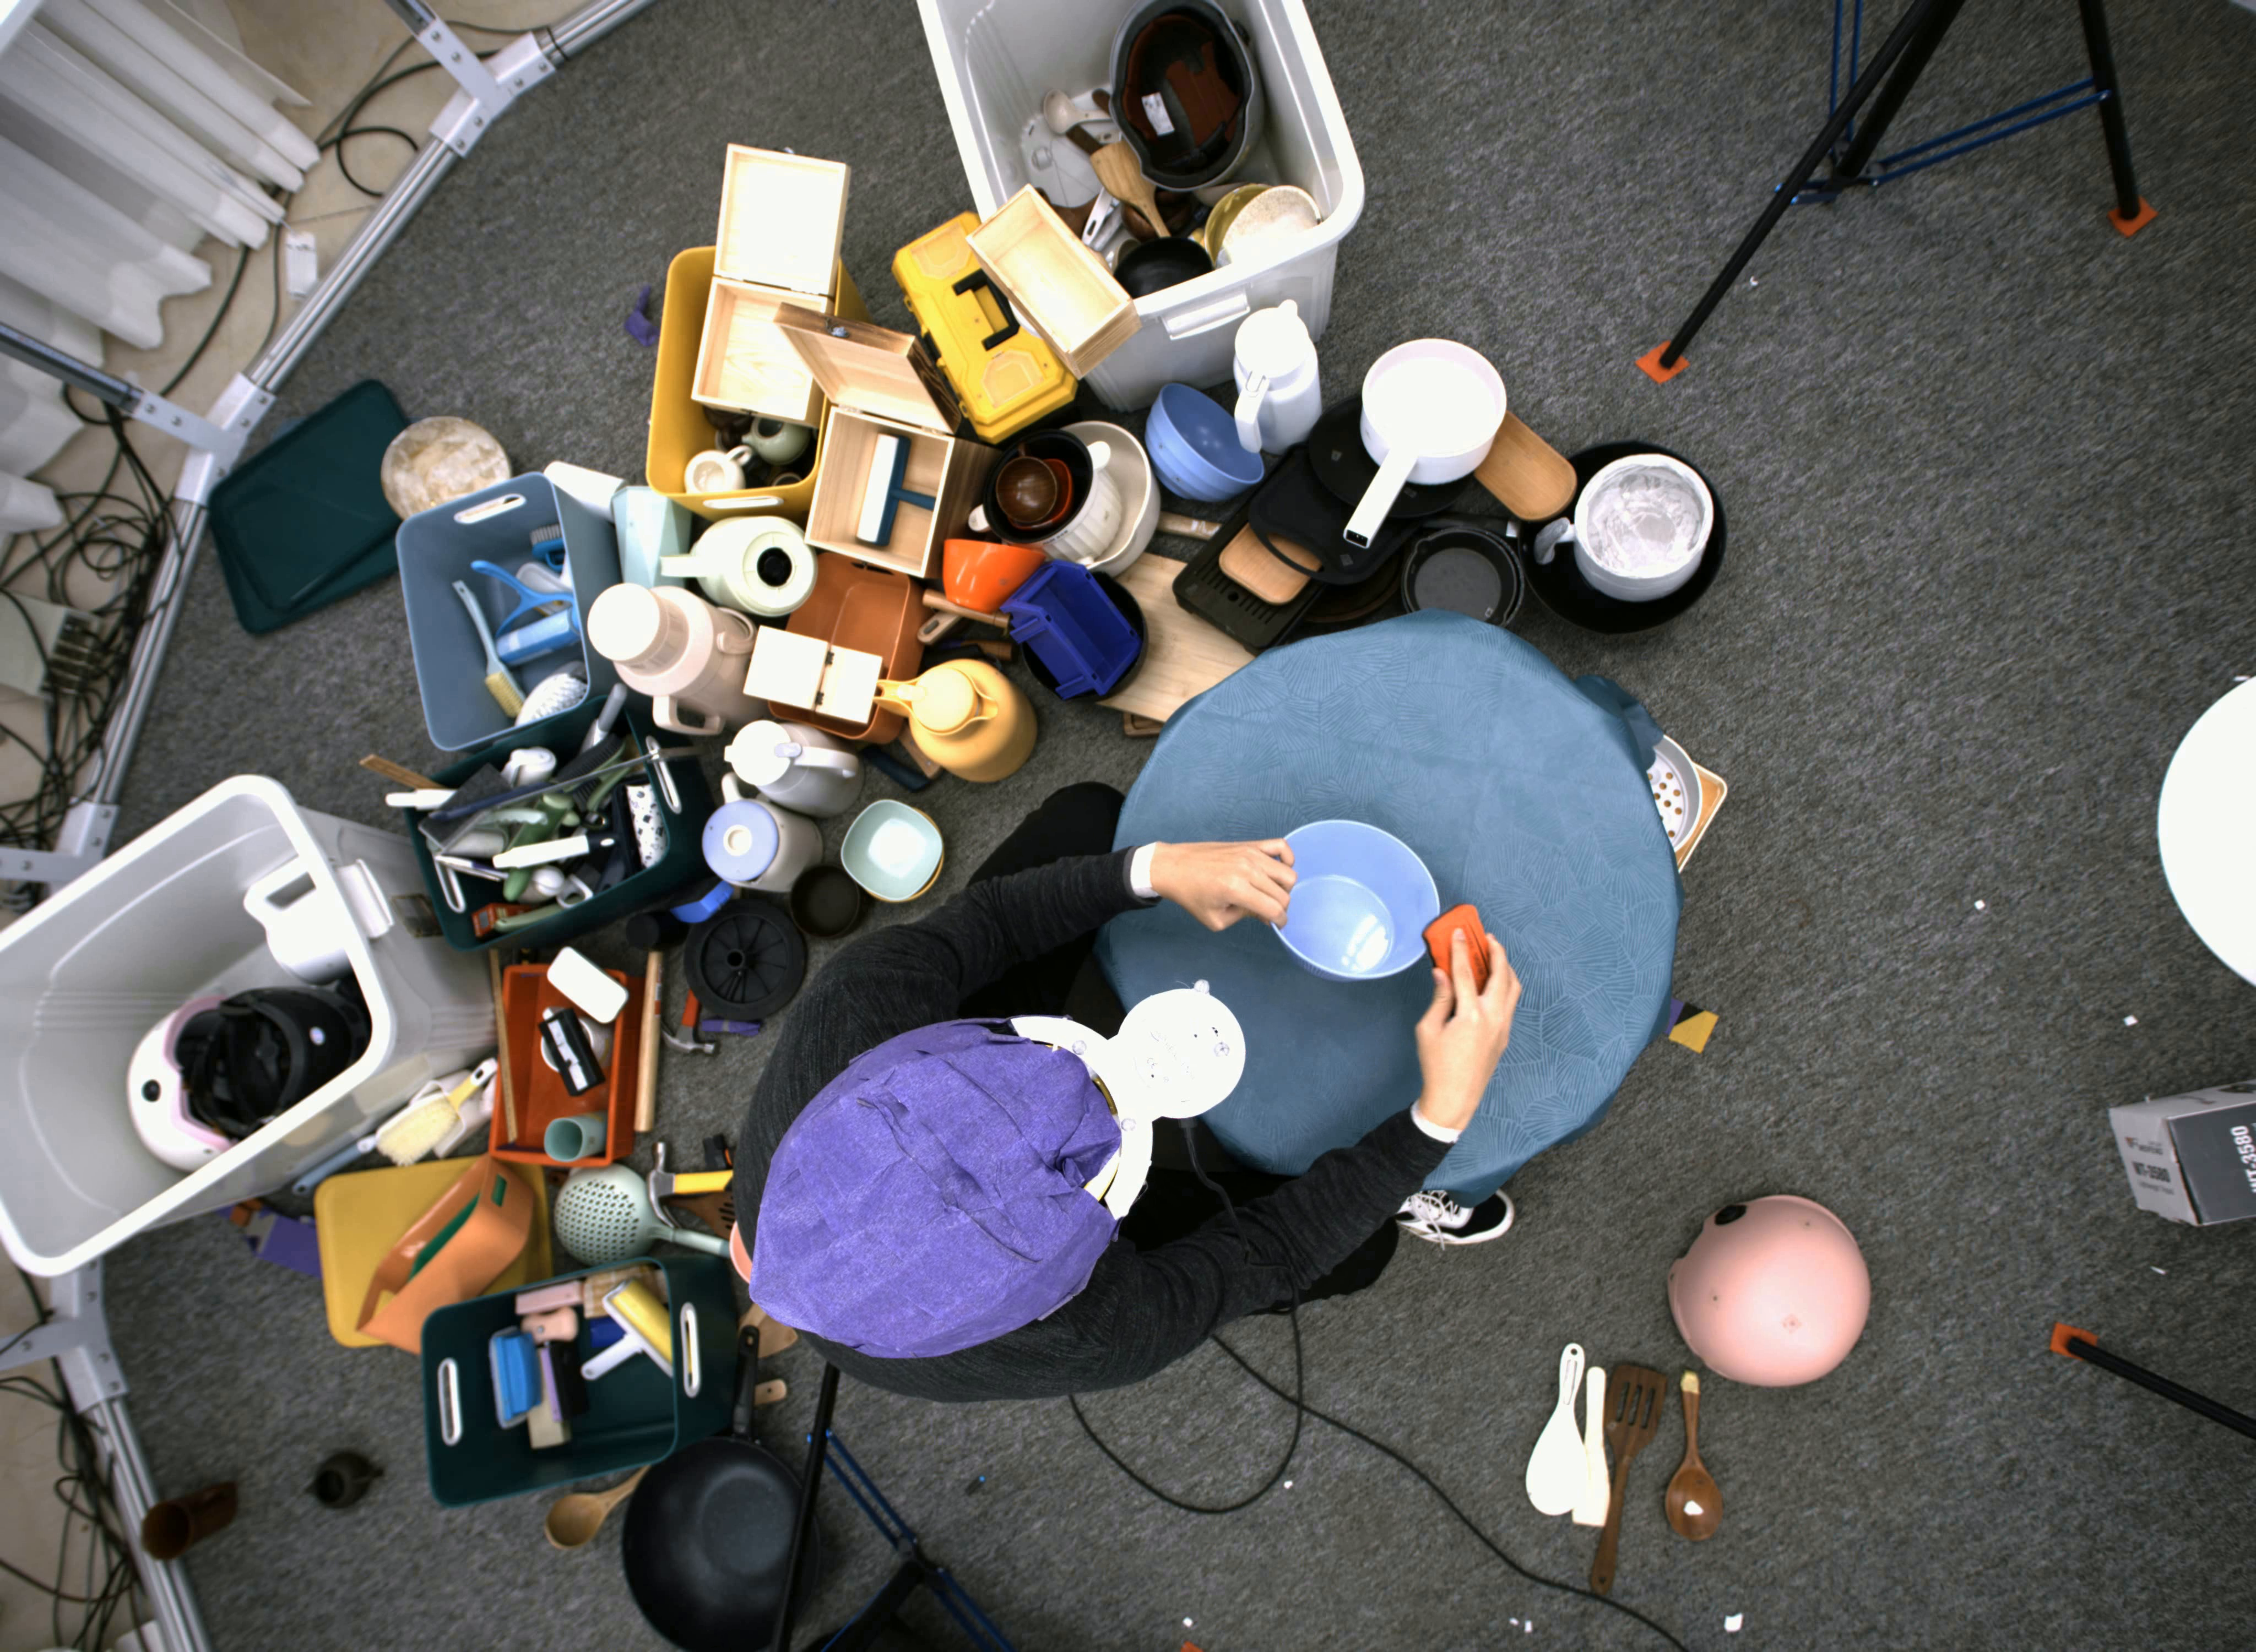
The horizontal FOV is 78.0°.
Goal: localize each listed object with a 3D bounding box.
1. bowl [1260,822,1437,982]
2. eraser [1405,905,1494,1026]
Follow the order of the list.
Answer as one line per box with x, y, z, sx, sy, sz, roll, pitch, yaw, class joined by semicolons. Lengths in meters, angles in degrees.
0.210;0.085;1.358;0.176;0.072;0.172;3;58;-5;bowl
0.306;0.130;1.308;0.058;0.023;0.109;-32;106;-25;eraser
